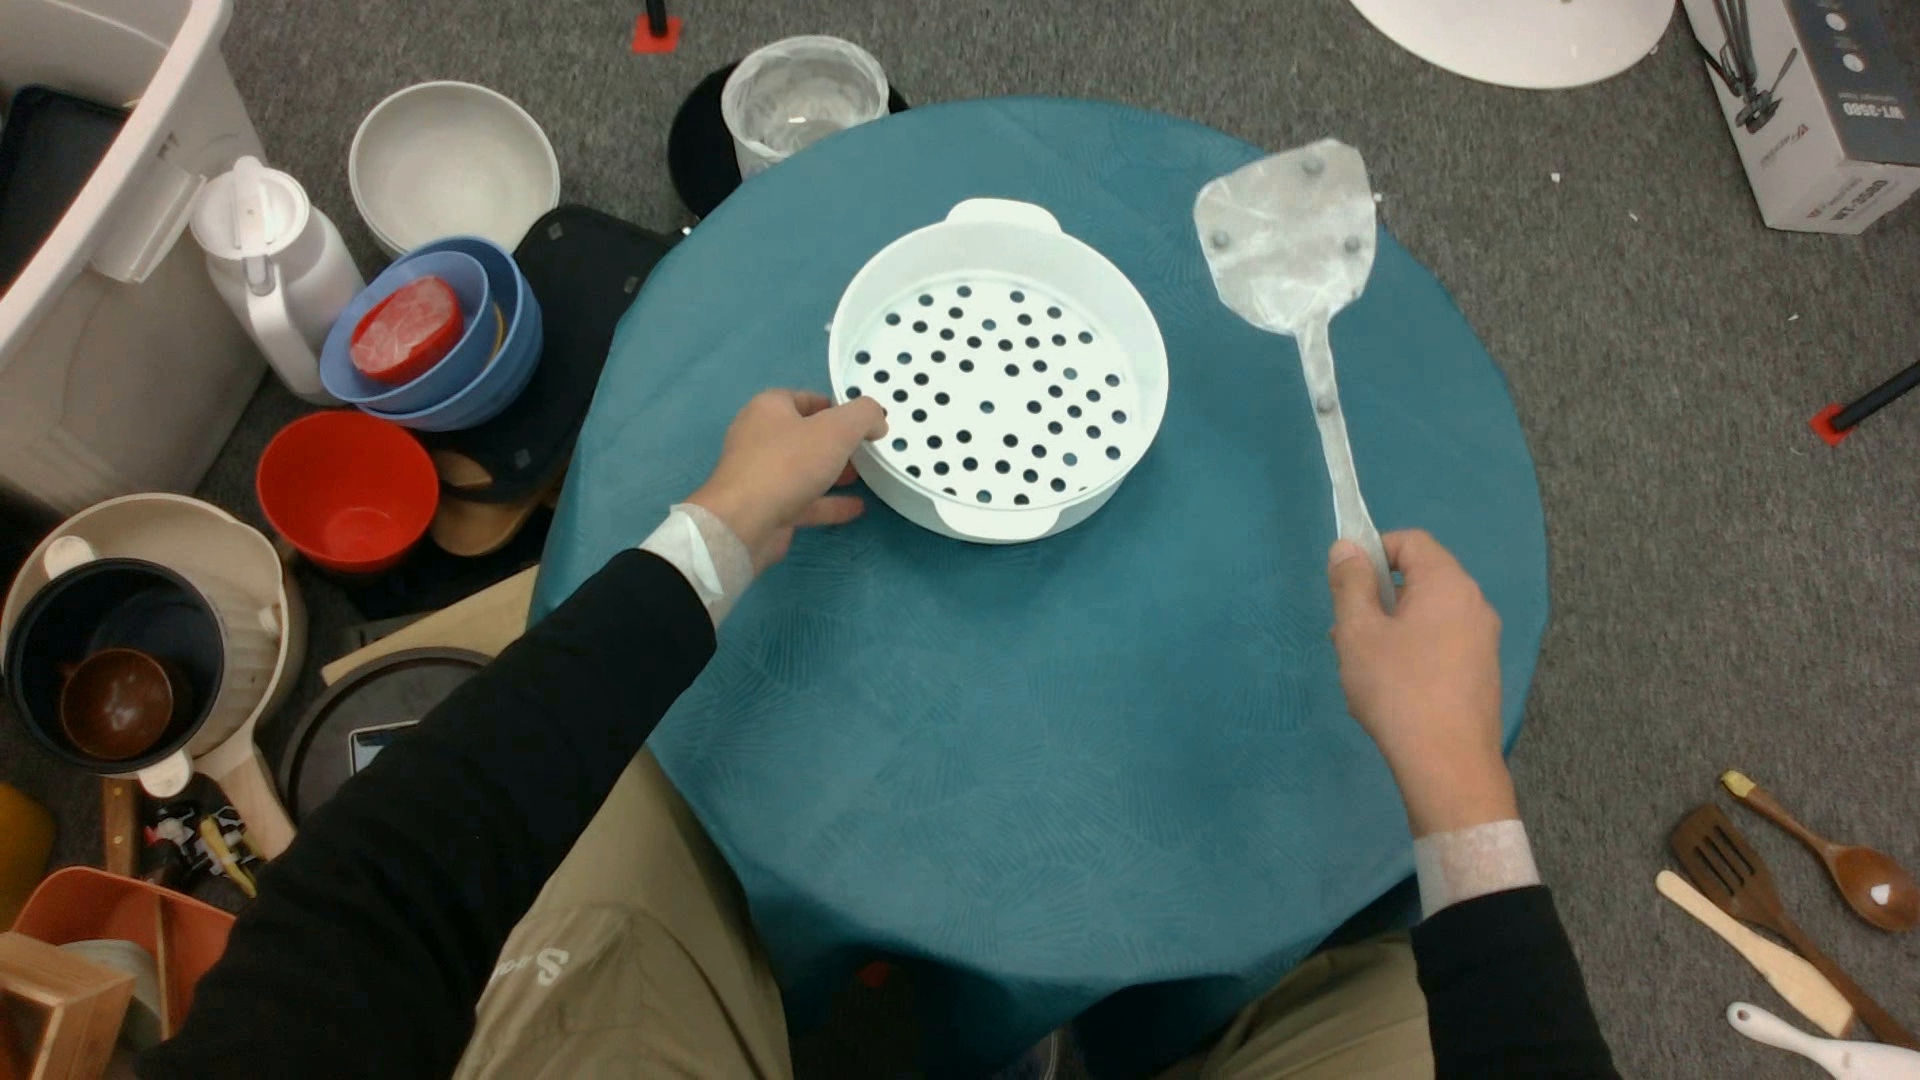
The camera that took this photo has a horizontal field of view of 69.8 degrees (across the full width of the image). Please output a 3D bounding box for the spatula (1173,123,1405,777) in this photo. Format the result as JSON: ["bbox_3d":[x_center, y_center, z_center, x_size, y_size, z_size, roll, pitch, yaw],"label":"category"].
[{"bbox_3d":[0.188,-0.059,0.726,0.098,0.045,0.366,-14,64,18],"label":"spatula"}]

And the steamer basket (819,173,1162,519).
[{"bbox_3d":[0.016,-0.110,0.828,0.202,0.069,0.231,5,66,-5],"label":"steamer basket"}]
